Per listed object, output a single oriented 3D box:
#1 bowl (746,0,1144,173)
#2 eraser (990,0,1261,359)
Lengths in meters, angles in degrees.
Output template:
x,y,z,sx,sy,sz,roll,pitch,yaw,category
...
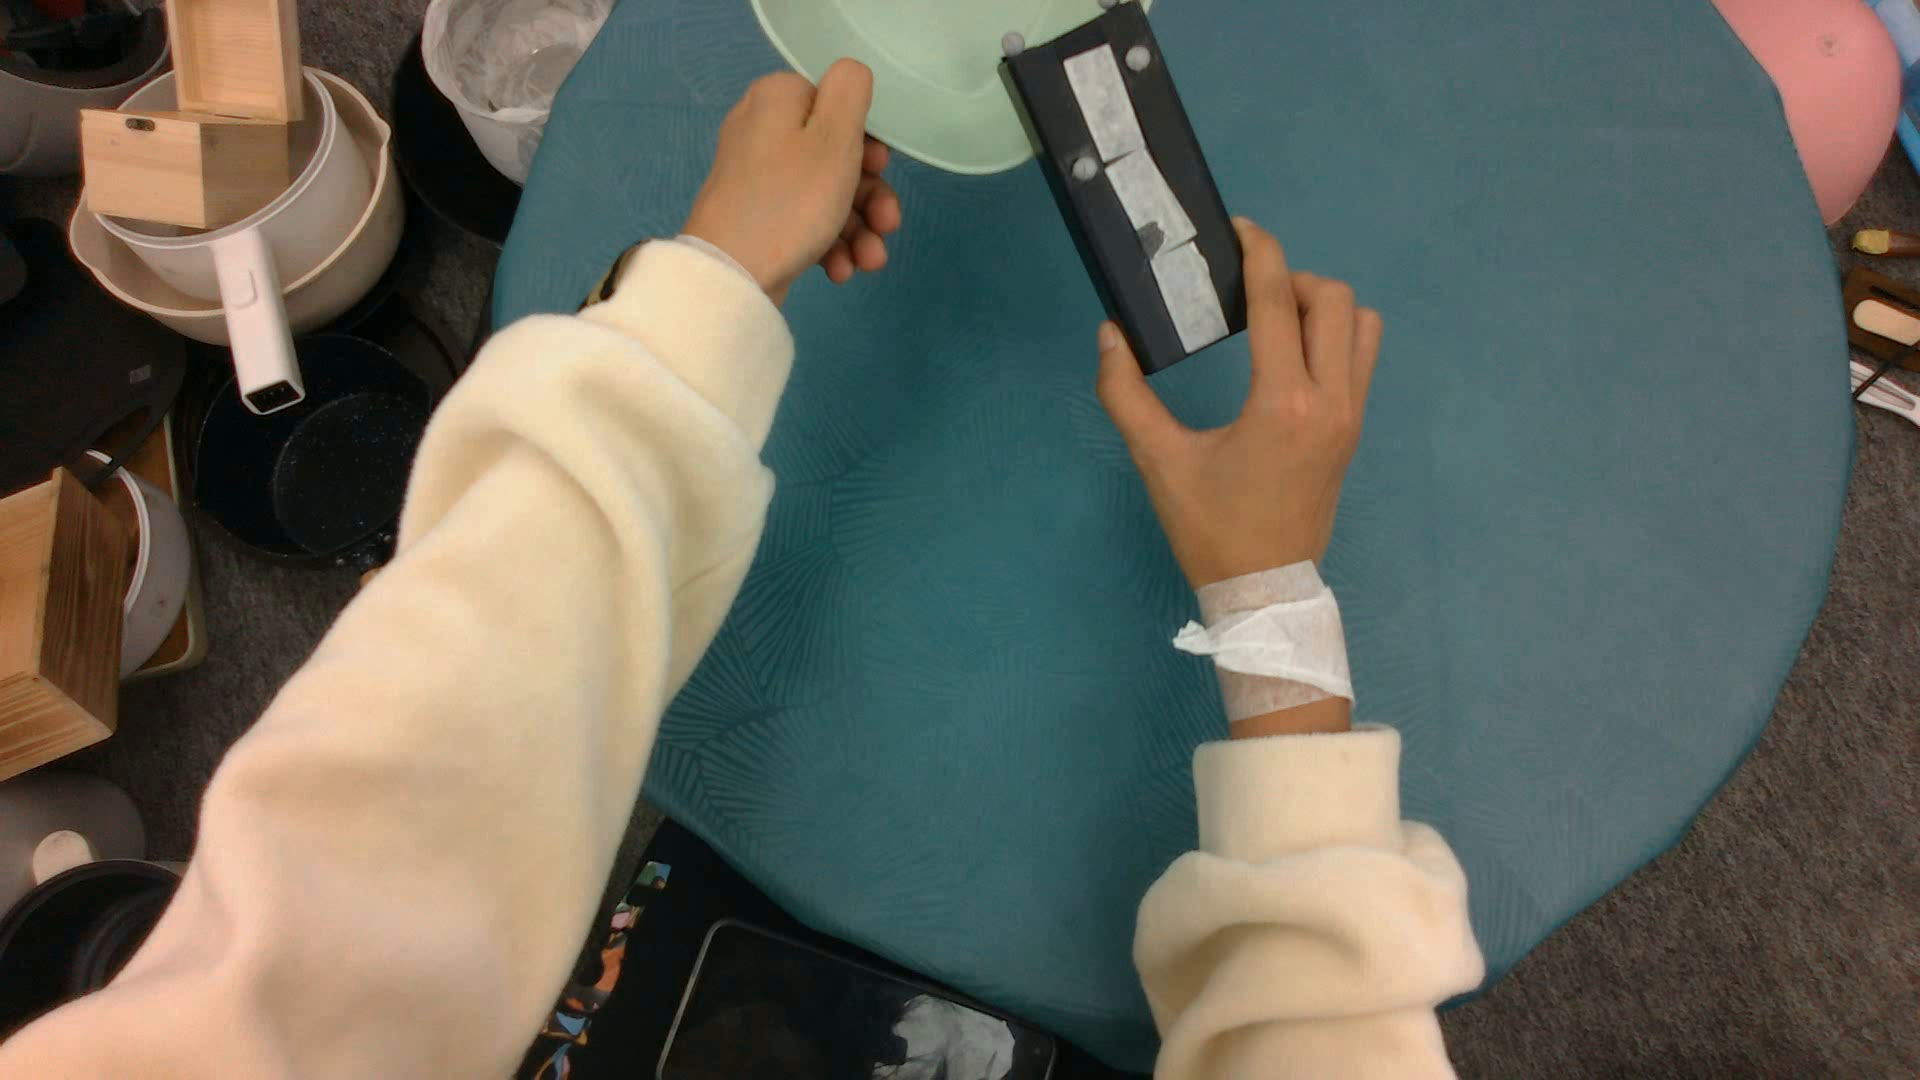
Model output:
x,y,z,sx,sy,sz,roll,pitch,yaw,category
-0.005,-0.215,0.520,0.151,0.059,0.151,-1,101,-5,bowl
0.060,-0.133,0.502,0.053,0.030,0.125,-26,104,3,eraser
